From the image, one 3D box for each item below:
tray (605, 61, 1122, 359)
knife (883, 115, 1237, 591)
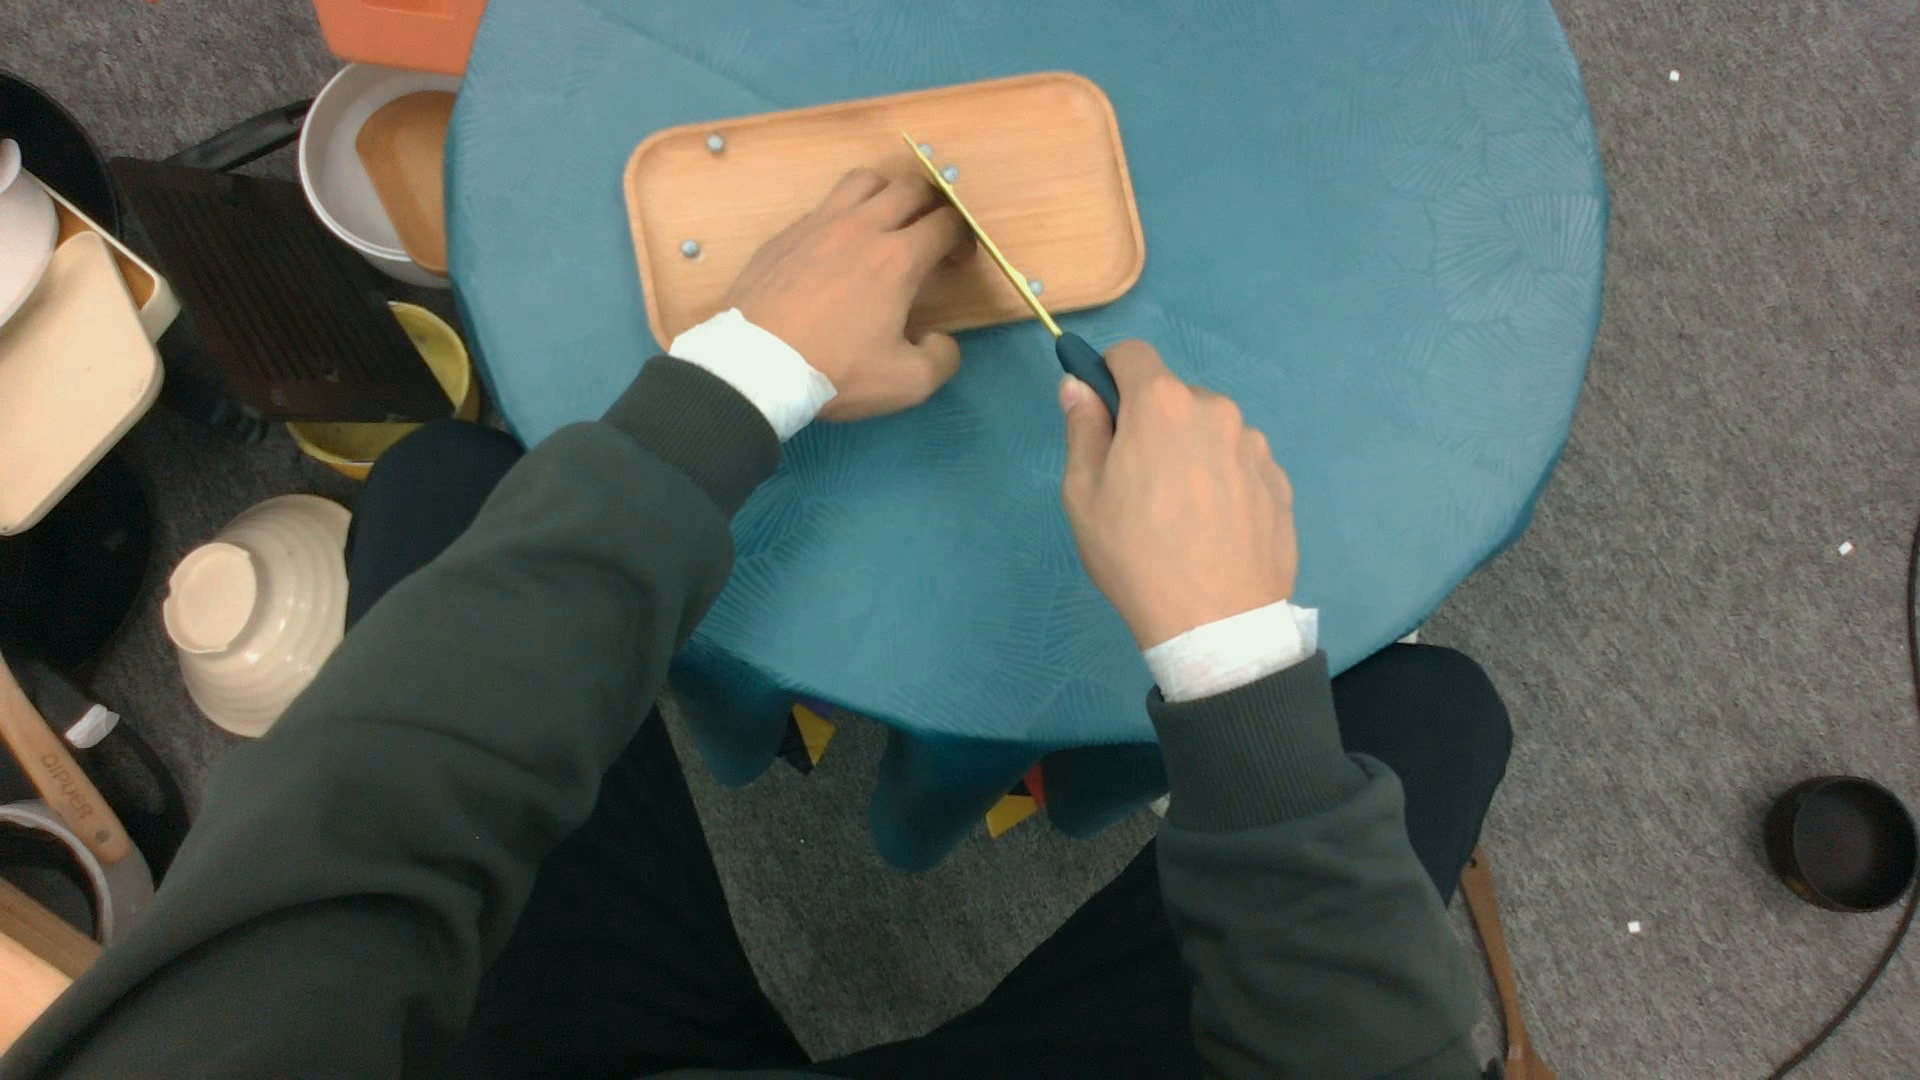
[{"bbox_3d":[-0.047,-0.169,0.698,0.251,0.023,0.130,-11,83,-11],"label":"tray"},{"bbox_3d":[0.037,-0.093,0.625,0.027,0.081,0.290,-36,68,9],"label":"knife"}]
